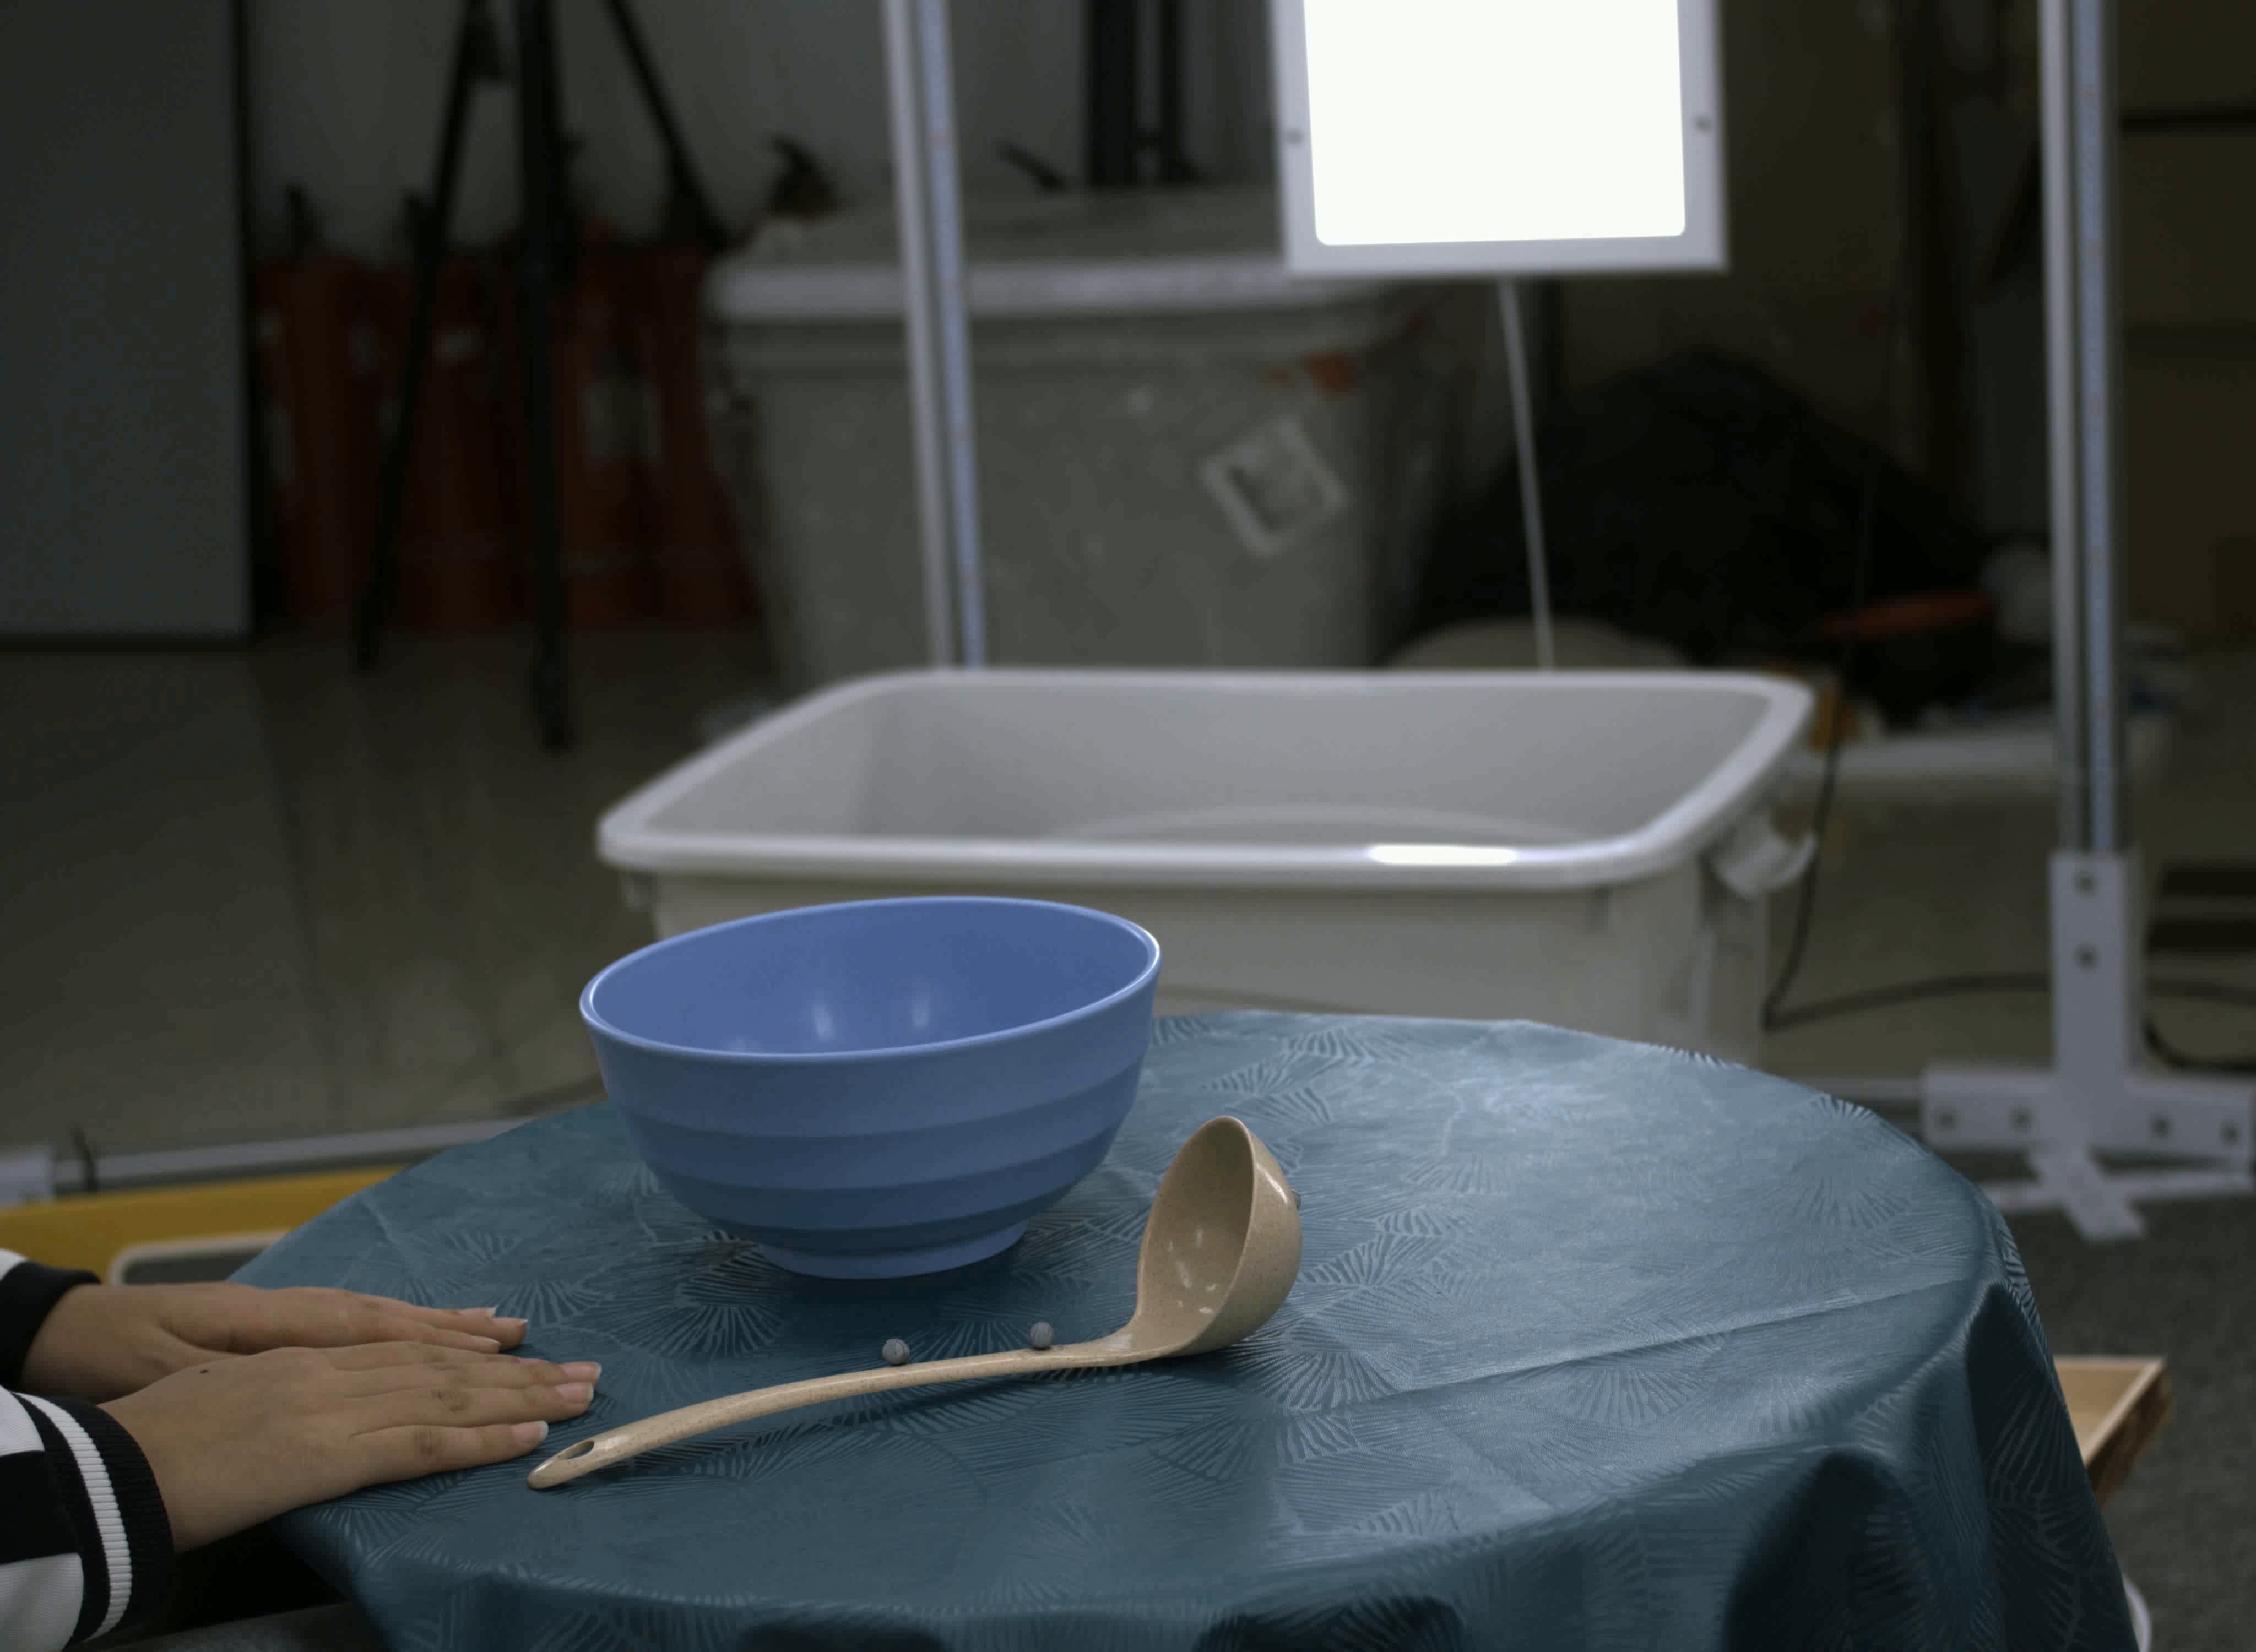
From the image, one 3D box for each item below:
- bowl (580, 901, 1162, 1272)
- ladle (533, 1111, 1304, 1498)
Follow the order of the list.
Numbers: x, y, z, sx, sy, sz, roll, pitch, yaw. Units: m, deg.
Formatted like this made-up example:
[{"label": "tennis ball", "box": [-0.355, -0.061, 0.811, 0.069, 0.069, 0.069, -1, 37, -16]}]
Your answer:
[{"label": "bowl", "box": [-0.085, 0.092, 1.861, 0.196, 0.096, 0.196, -2, 12, -1]}, {"label": "ladle", "box": [-0.066, 0.145, 1.696, 0.250, 0.073, 0.073, -10, 14, -21]}]
